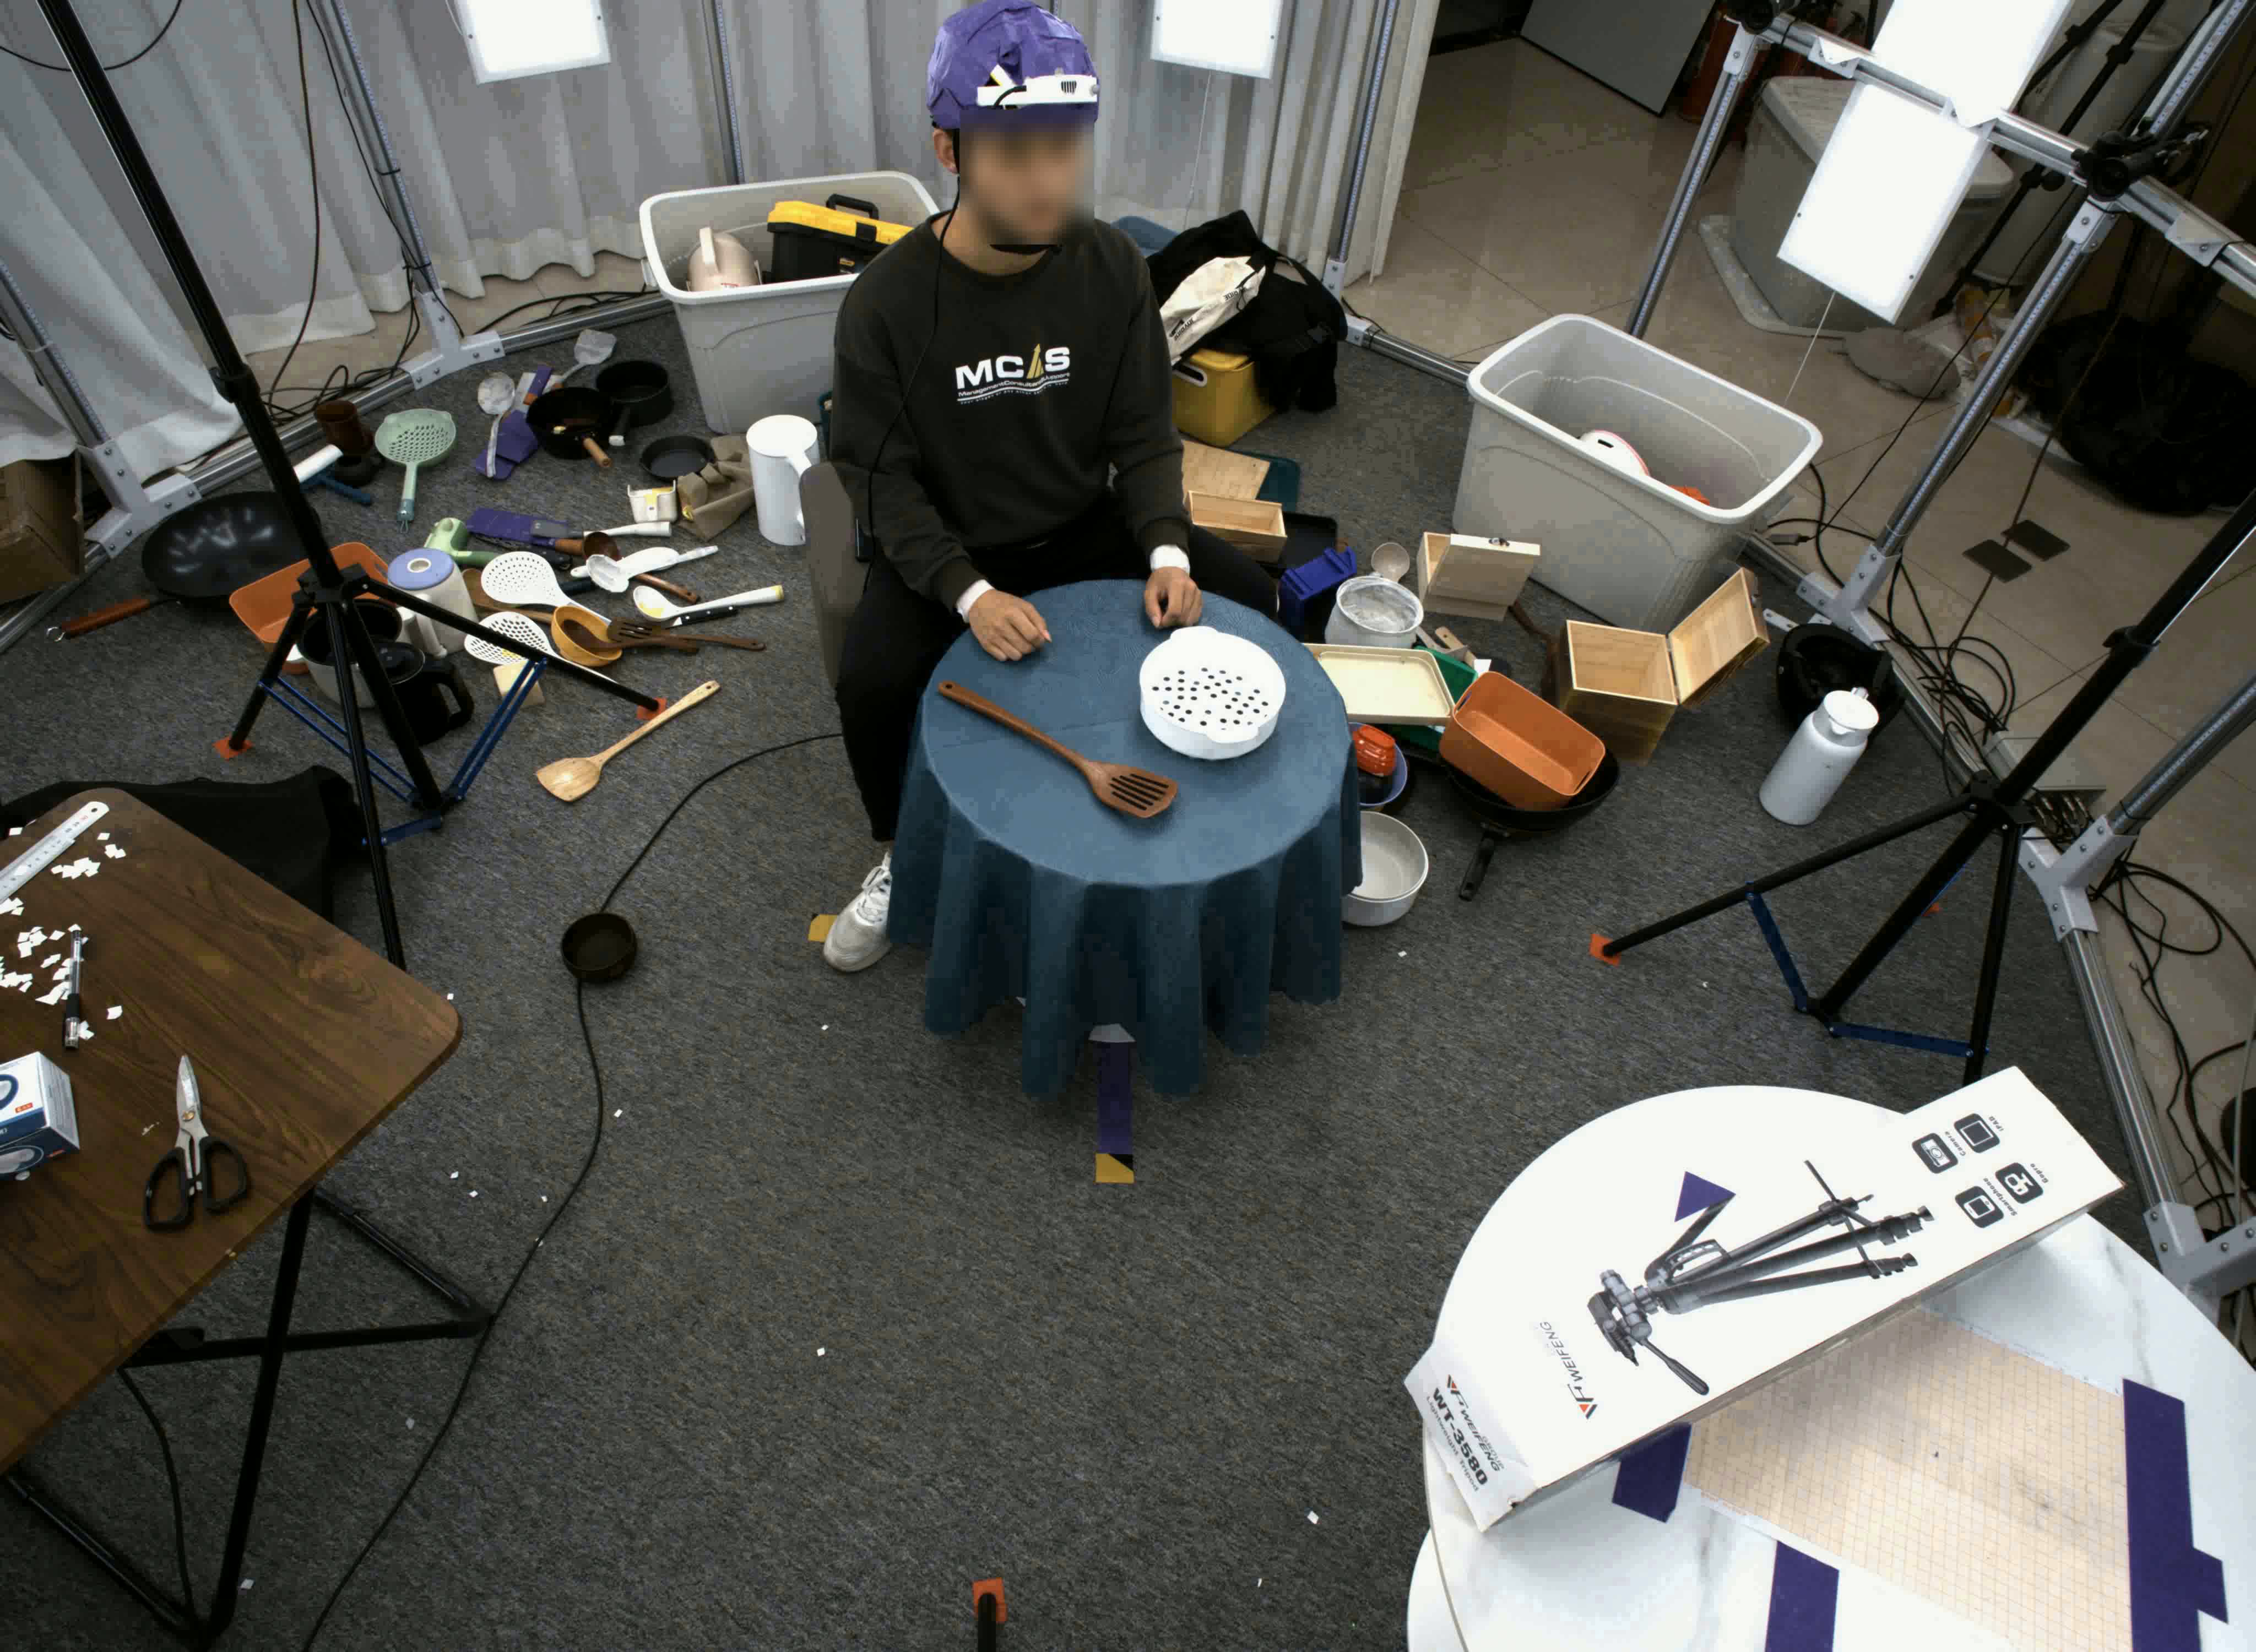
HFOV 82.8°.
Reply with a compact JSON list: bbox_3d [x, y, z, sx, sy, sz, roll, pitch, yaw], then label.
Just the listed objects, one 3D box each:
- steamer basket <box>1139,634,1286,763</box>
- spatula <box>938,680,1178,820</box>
[{"bbox_3d":[0.115,-0.175,1.787,0.201,0.067,0.236,-6,47,-12],"label":"steamer basket"},{"bbox_3d":[-0.107,-0.110,1.742,0.389,0.023,0.087,29,51,21],"label":"spatula"}]
